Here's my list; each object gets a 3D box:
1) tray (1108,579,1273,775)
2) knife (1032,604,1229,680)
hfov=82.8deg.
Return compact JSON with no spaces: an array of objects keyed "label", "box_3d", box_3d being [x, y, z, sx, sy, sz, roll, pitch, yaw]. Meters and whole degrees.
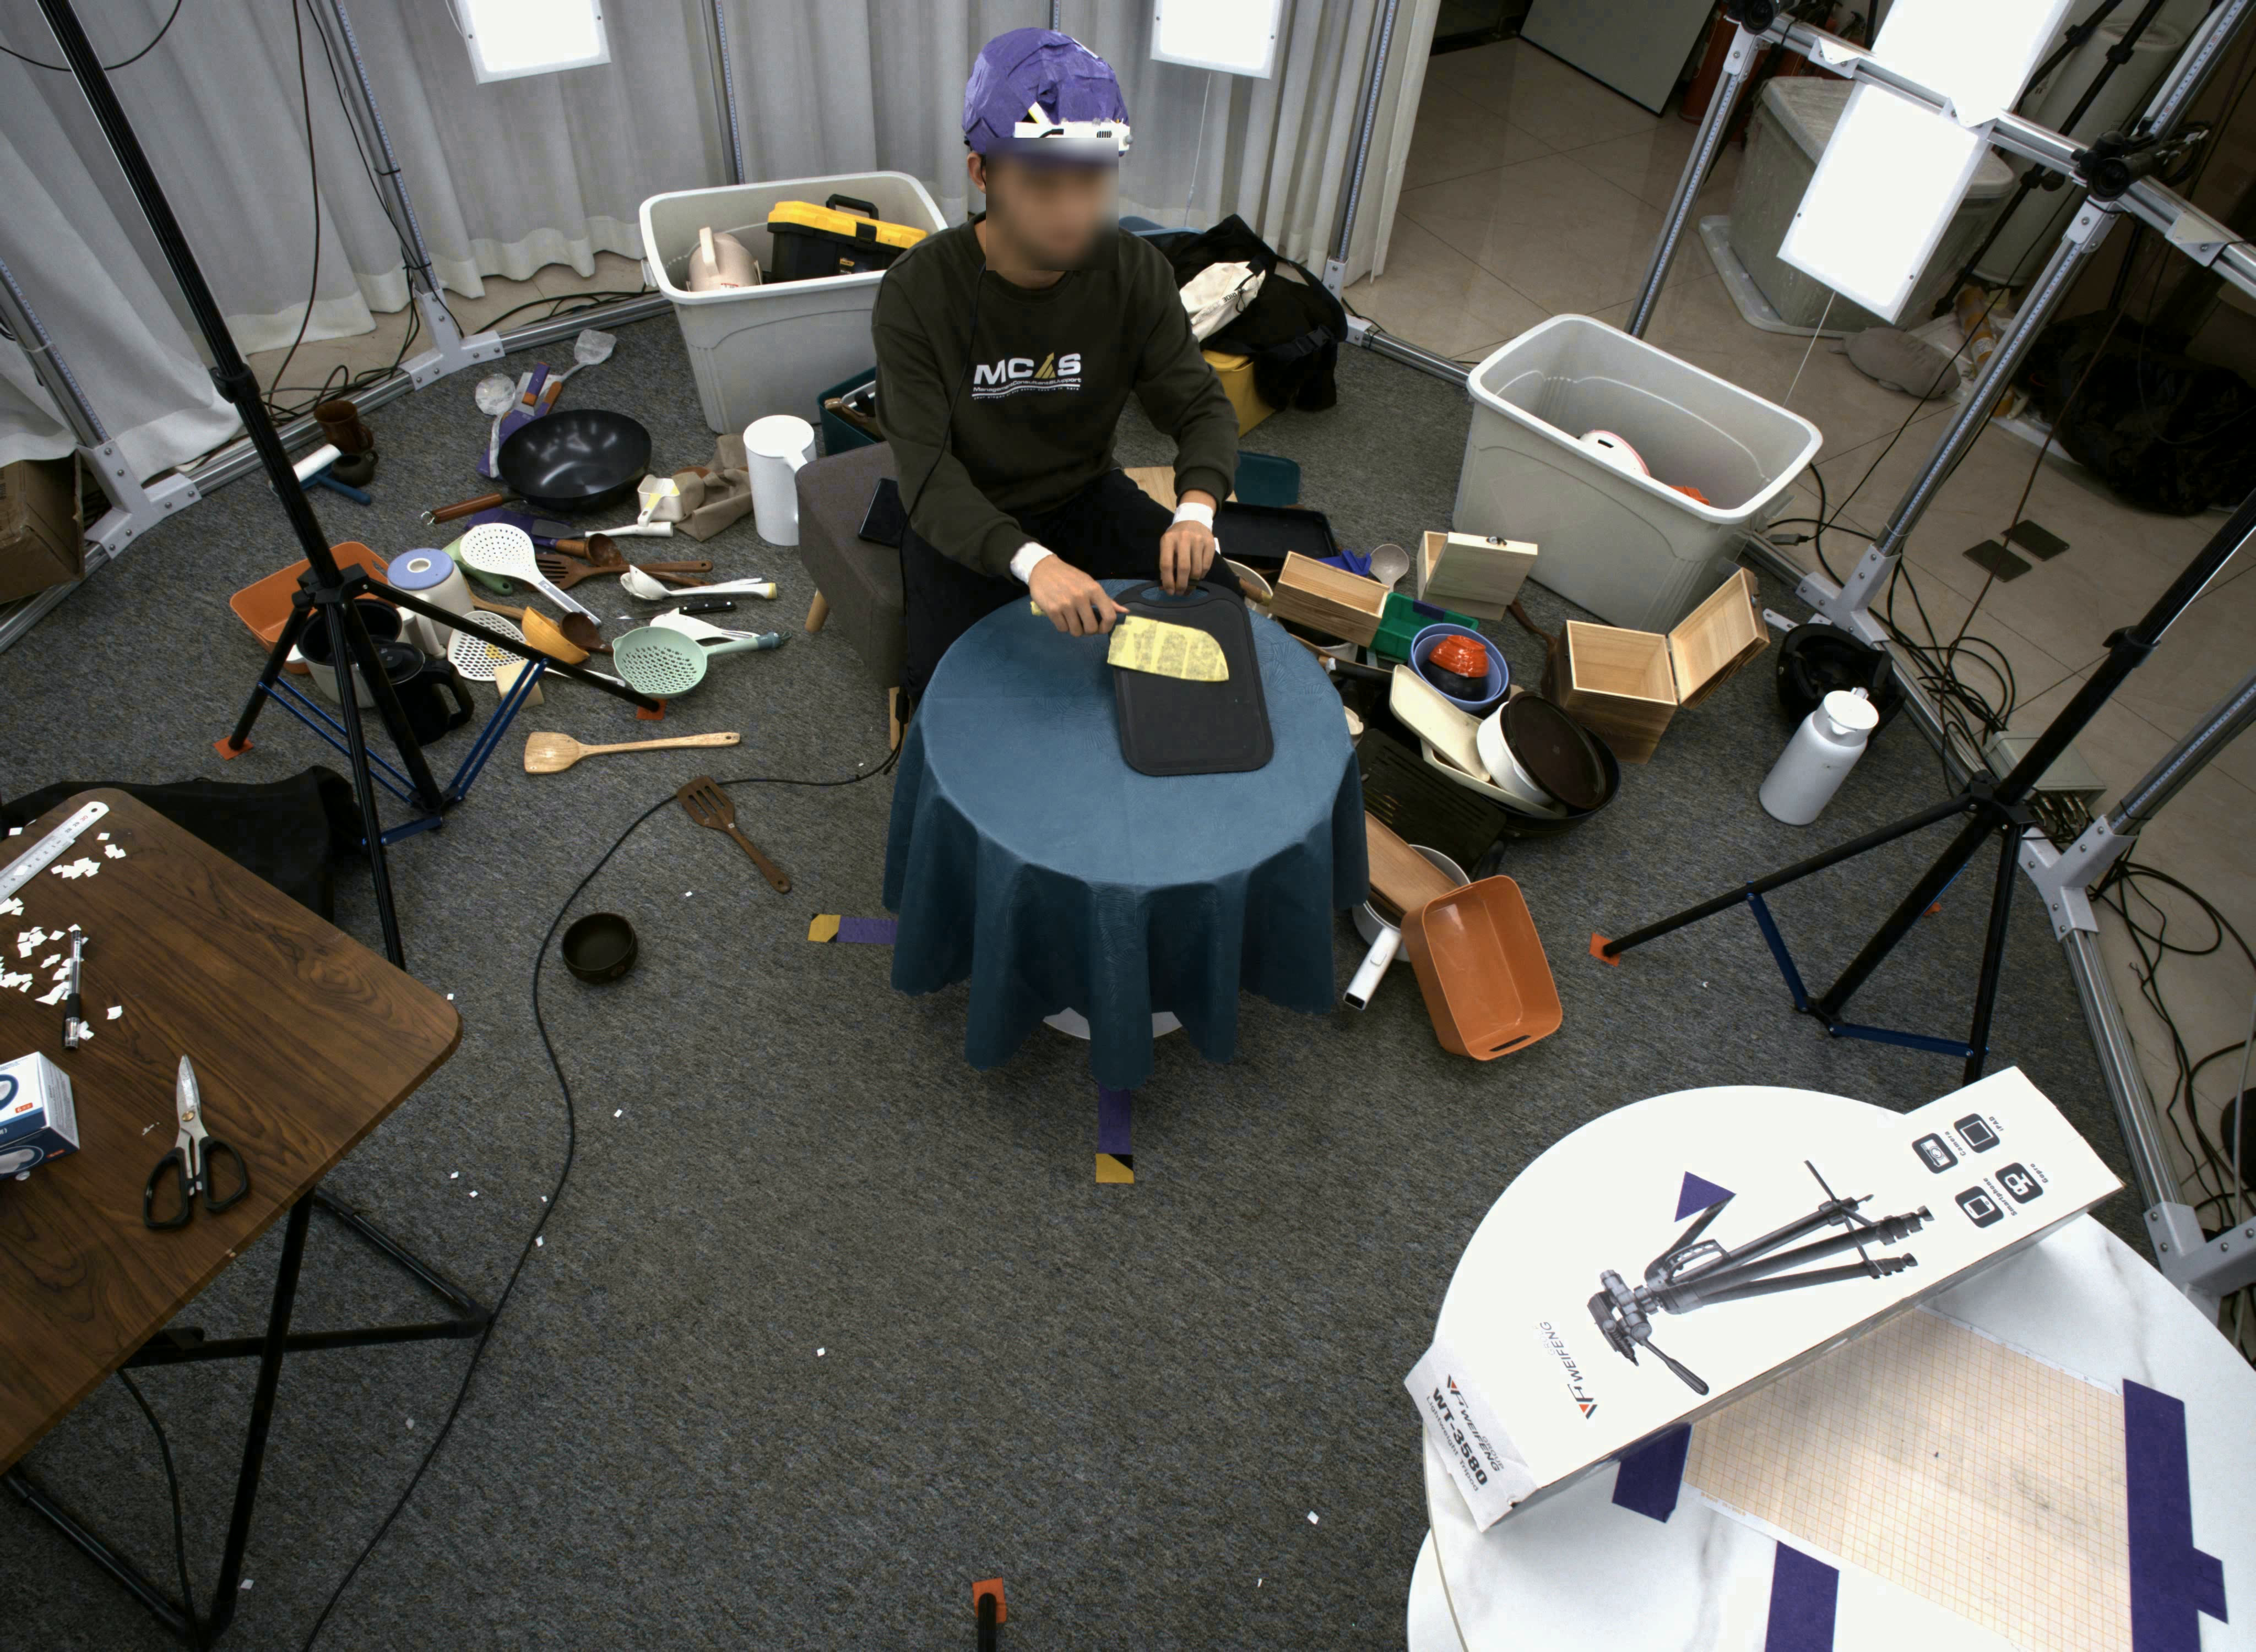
[{"label":"tray","box_3d":[0.084,-0.217,1.811,0.211,0.009,0.332,-3,62,-7]},{"label":"knife","box_3d":[0.002,-0.260,1.807,0.289,0.027,0.081,14,87,0]}]
